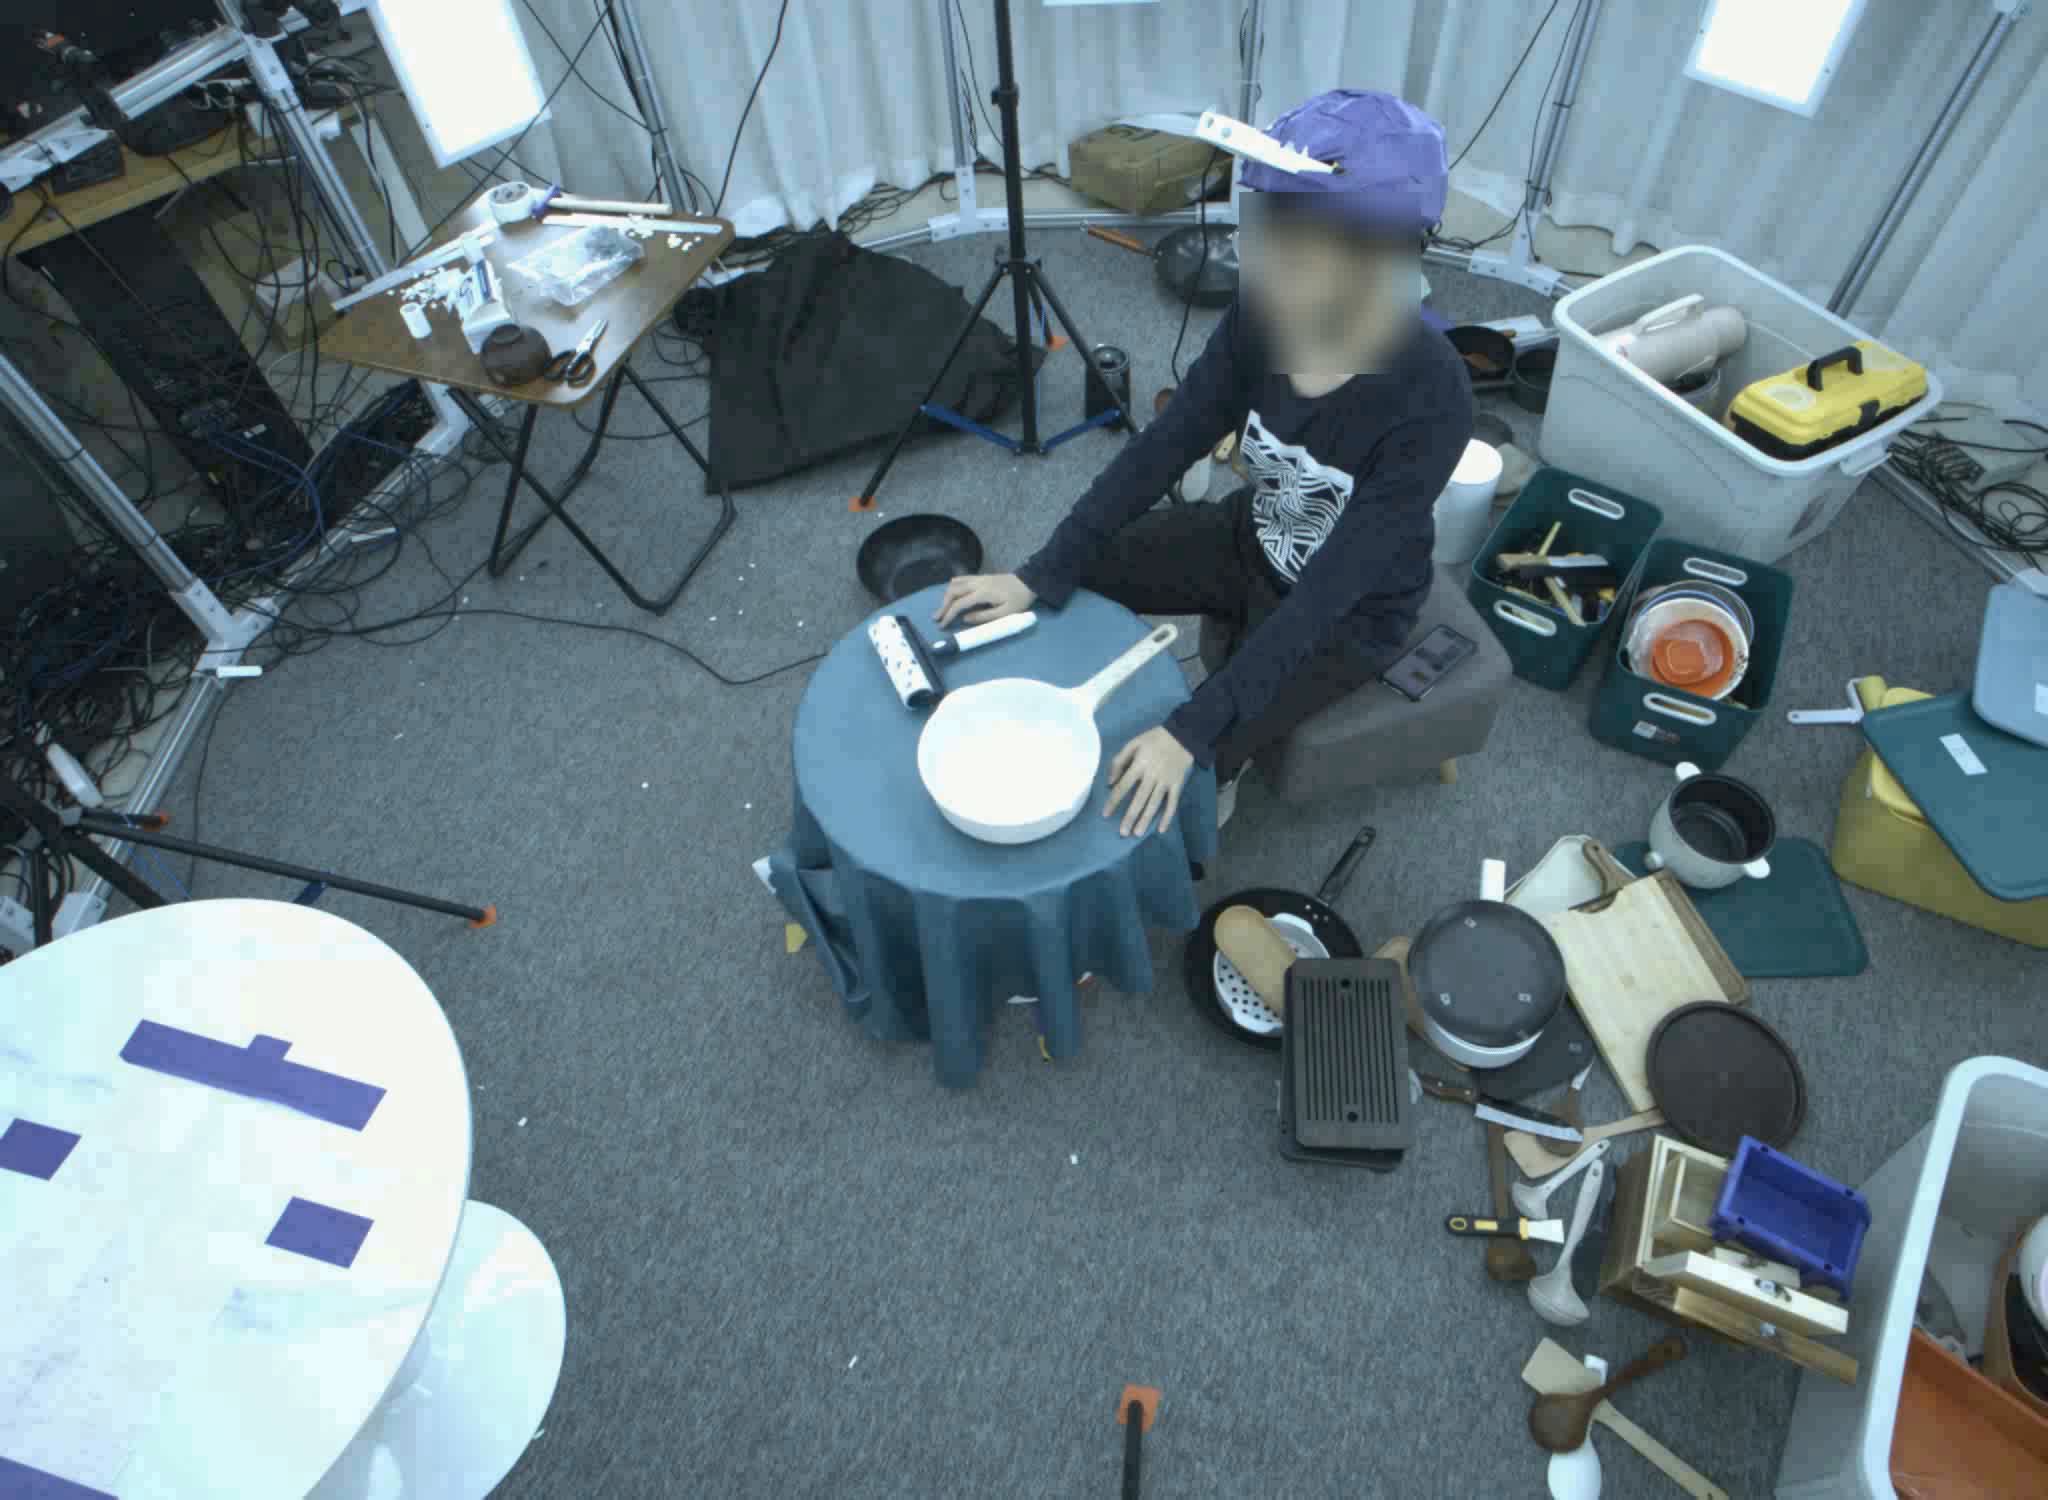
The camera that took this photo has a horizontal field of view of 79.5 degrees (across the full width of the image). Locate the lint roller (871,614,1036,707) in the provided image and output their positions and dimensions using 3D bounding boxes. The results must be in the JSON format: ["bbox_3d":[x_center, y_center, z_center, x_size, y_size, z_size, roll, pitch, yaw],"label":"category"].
[{"bbox_3d":[-0.096,-0.170,1.894,0.249,0.051,0.173,-21,55,-16],"label":"lint roller"}]

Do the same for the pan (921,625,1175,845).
[{"bbox_3d":[0.055,-0.031,1.754,0.438,0.103,0.258,-36,60,-22],"label":"pan"}]
